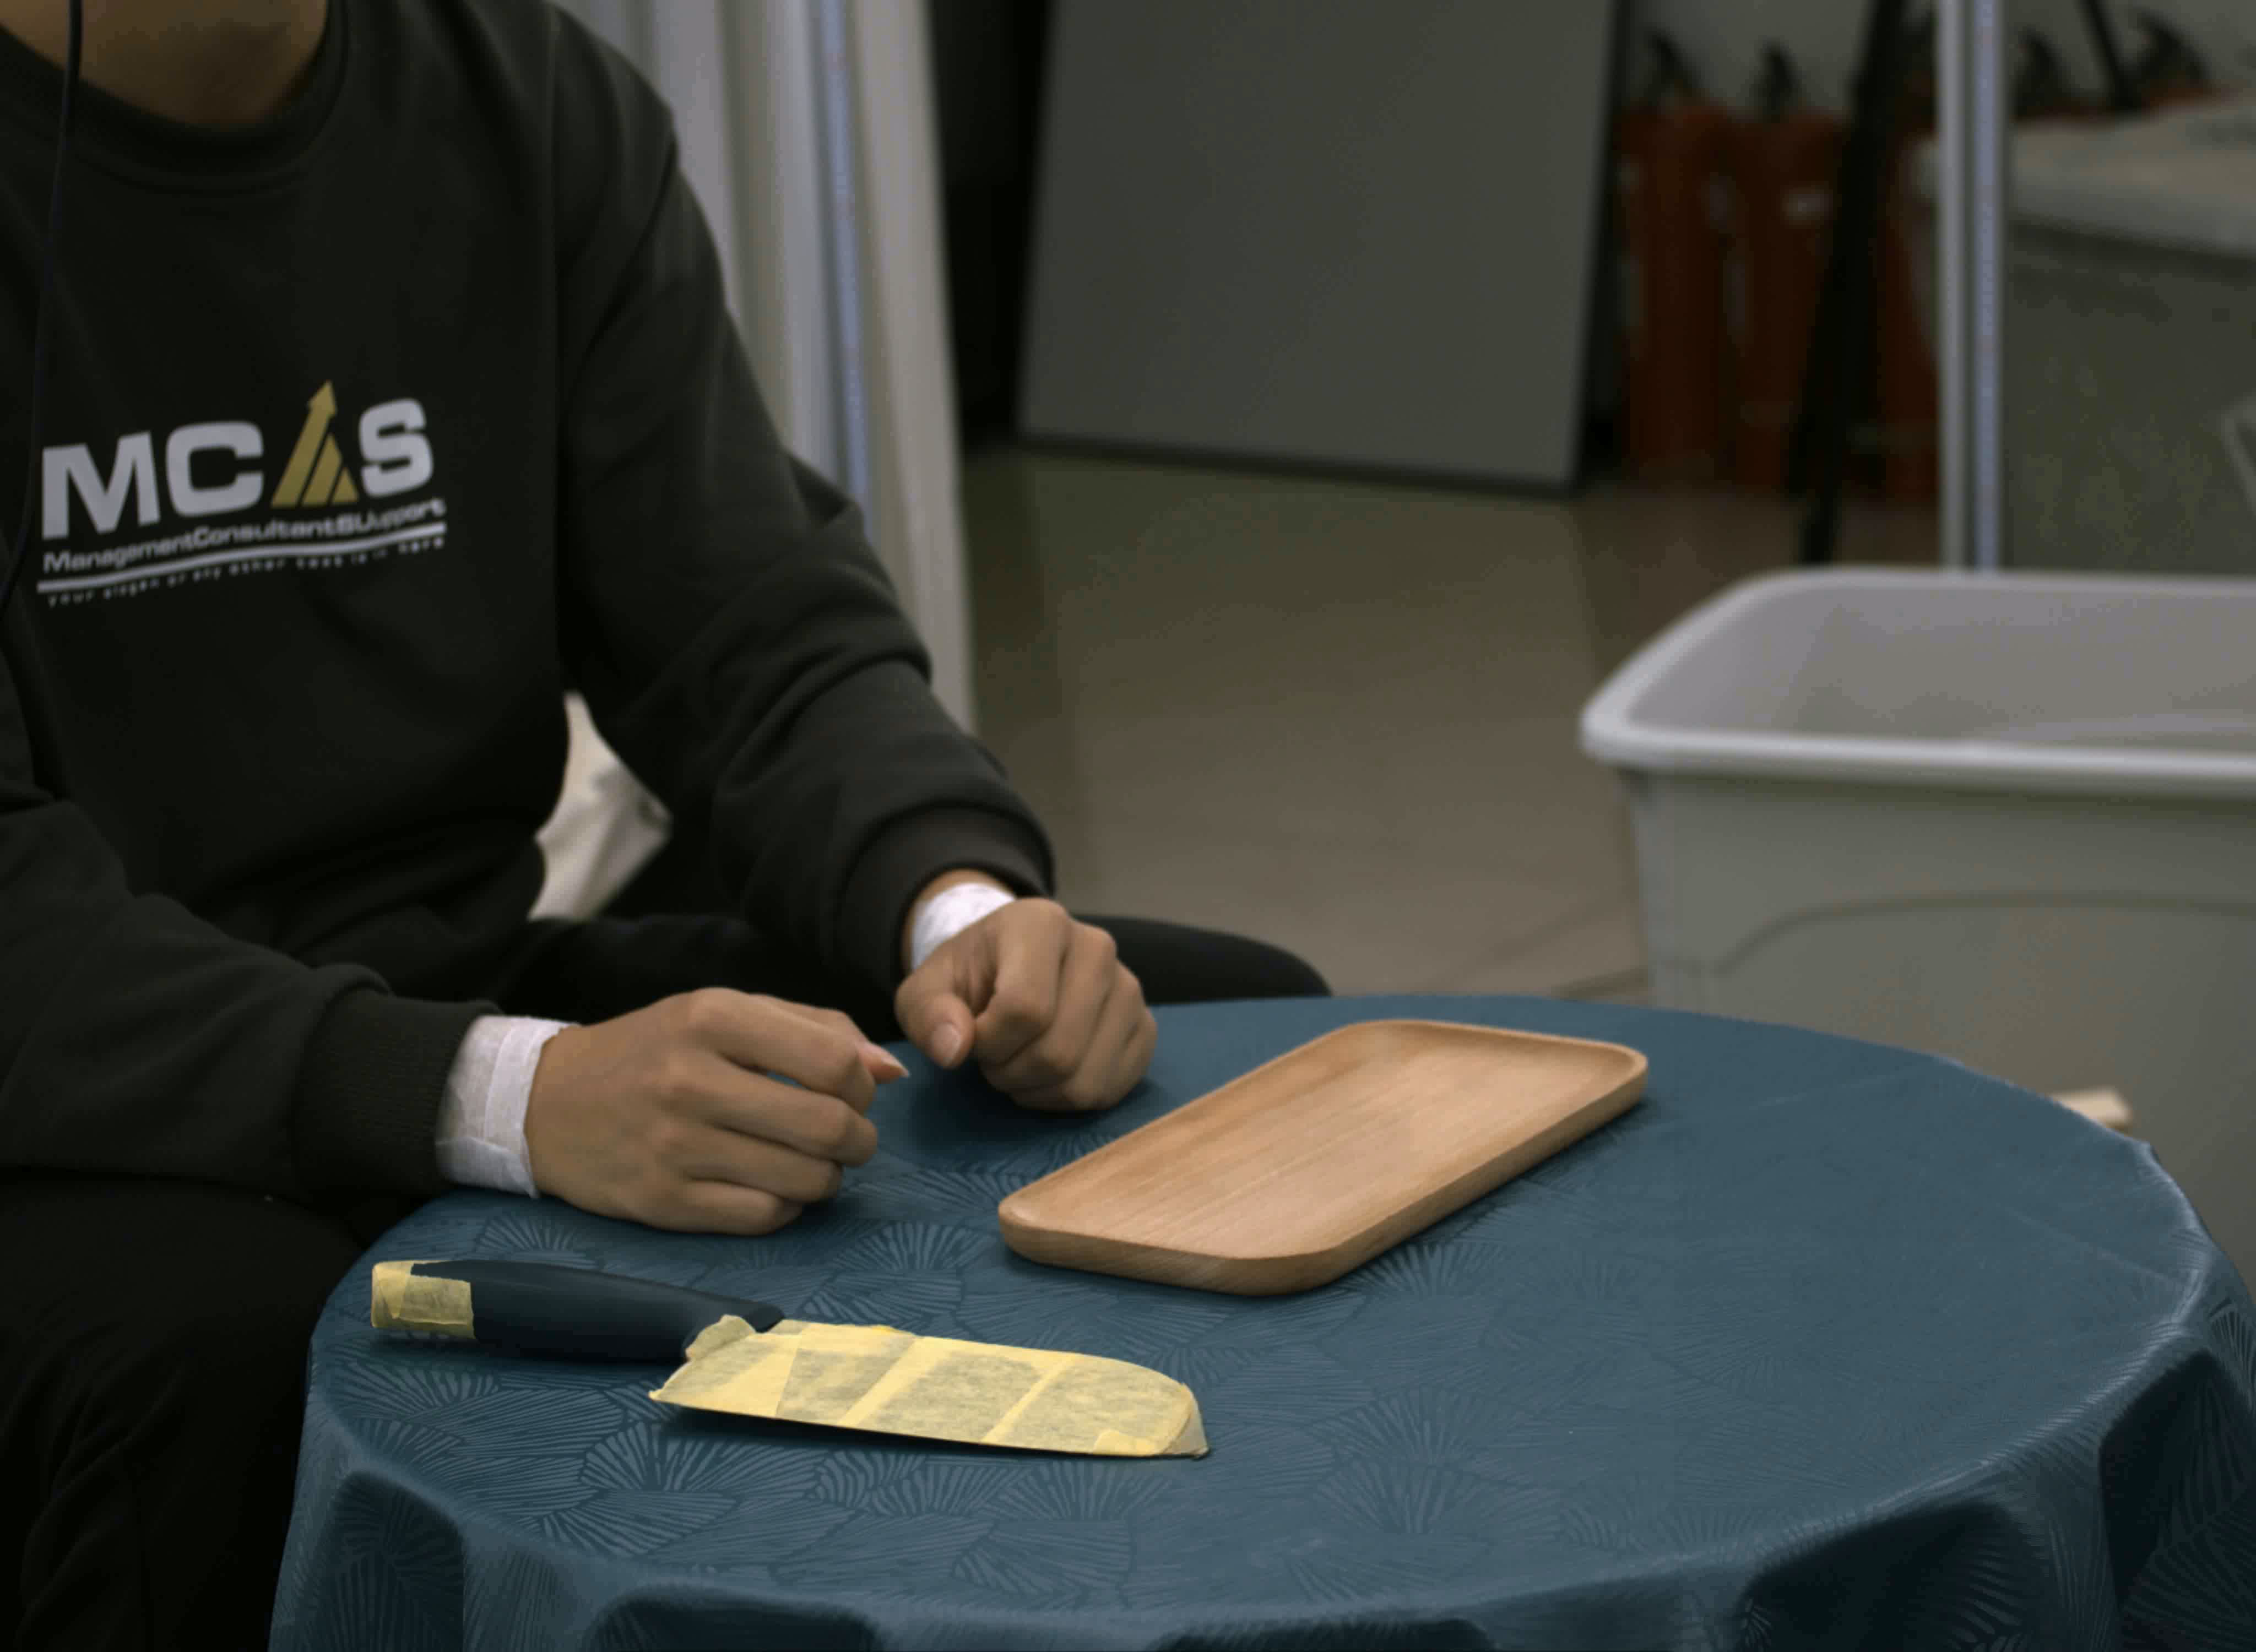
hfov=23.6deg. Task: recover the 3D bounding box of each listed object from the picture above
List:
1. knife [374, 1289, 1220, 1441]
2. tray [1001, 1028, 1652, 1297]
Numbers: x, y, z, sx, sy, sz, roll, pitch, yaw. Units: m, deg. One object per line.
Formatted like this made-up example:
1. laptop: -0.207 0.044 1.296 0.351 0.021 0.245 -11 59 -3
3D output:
1. knife: -0.105 0.163 1.604 0.290 0.027 0.080 3 13 25
2. tray: 0.069 0.108 1.773 0.131 0.023 0.246 2 15 35
